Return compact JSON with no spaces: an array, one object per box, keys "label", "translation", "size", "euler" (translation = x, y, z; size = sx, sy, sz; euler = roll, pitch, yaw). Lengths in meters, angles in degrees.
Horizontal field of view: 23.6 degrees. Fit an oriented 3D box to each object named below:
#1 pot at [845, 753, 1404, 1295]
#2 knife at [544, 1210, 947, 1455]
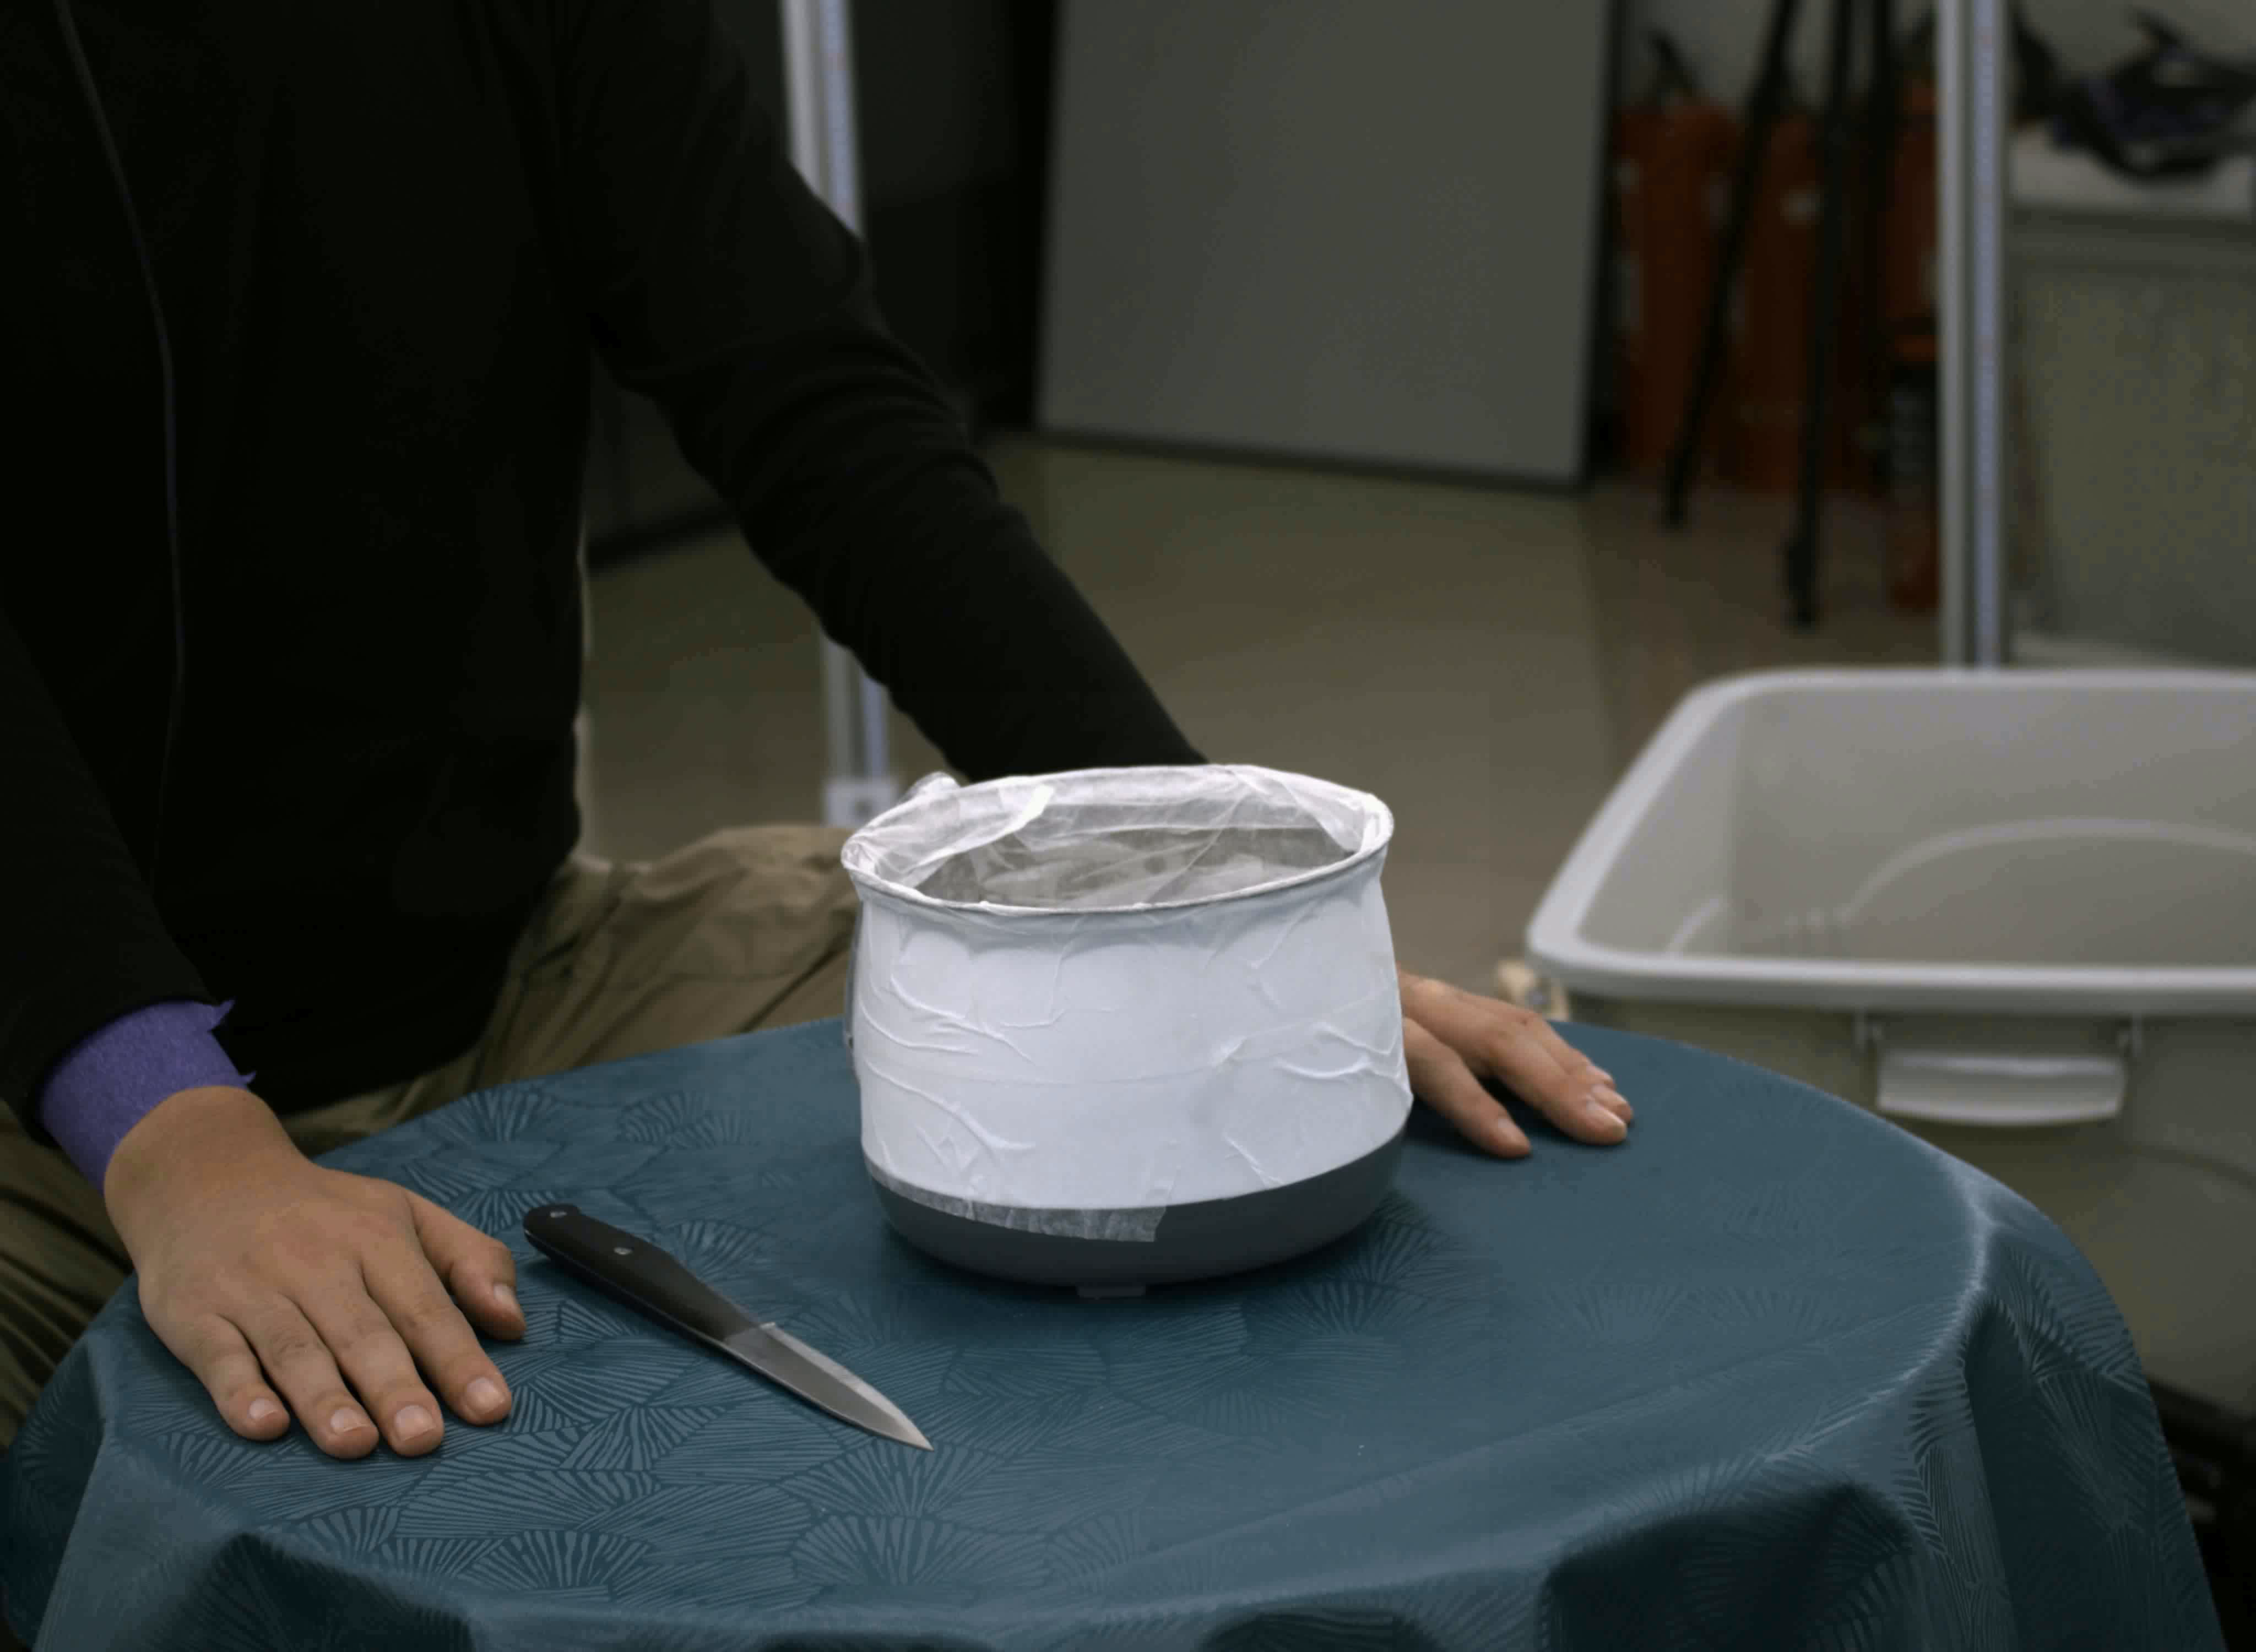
[{"label":"pot","translation":[-0.017,0.057,1.743],"size":[0.175,0.138,0.236],"euler":[-13,17,-36]},{"label":"knife","translation":[-0.120,0.156,1.649],"size":[0.024,0.016,0.241],"euler":[-13,19,-31]}]
